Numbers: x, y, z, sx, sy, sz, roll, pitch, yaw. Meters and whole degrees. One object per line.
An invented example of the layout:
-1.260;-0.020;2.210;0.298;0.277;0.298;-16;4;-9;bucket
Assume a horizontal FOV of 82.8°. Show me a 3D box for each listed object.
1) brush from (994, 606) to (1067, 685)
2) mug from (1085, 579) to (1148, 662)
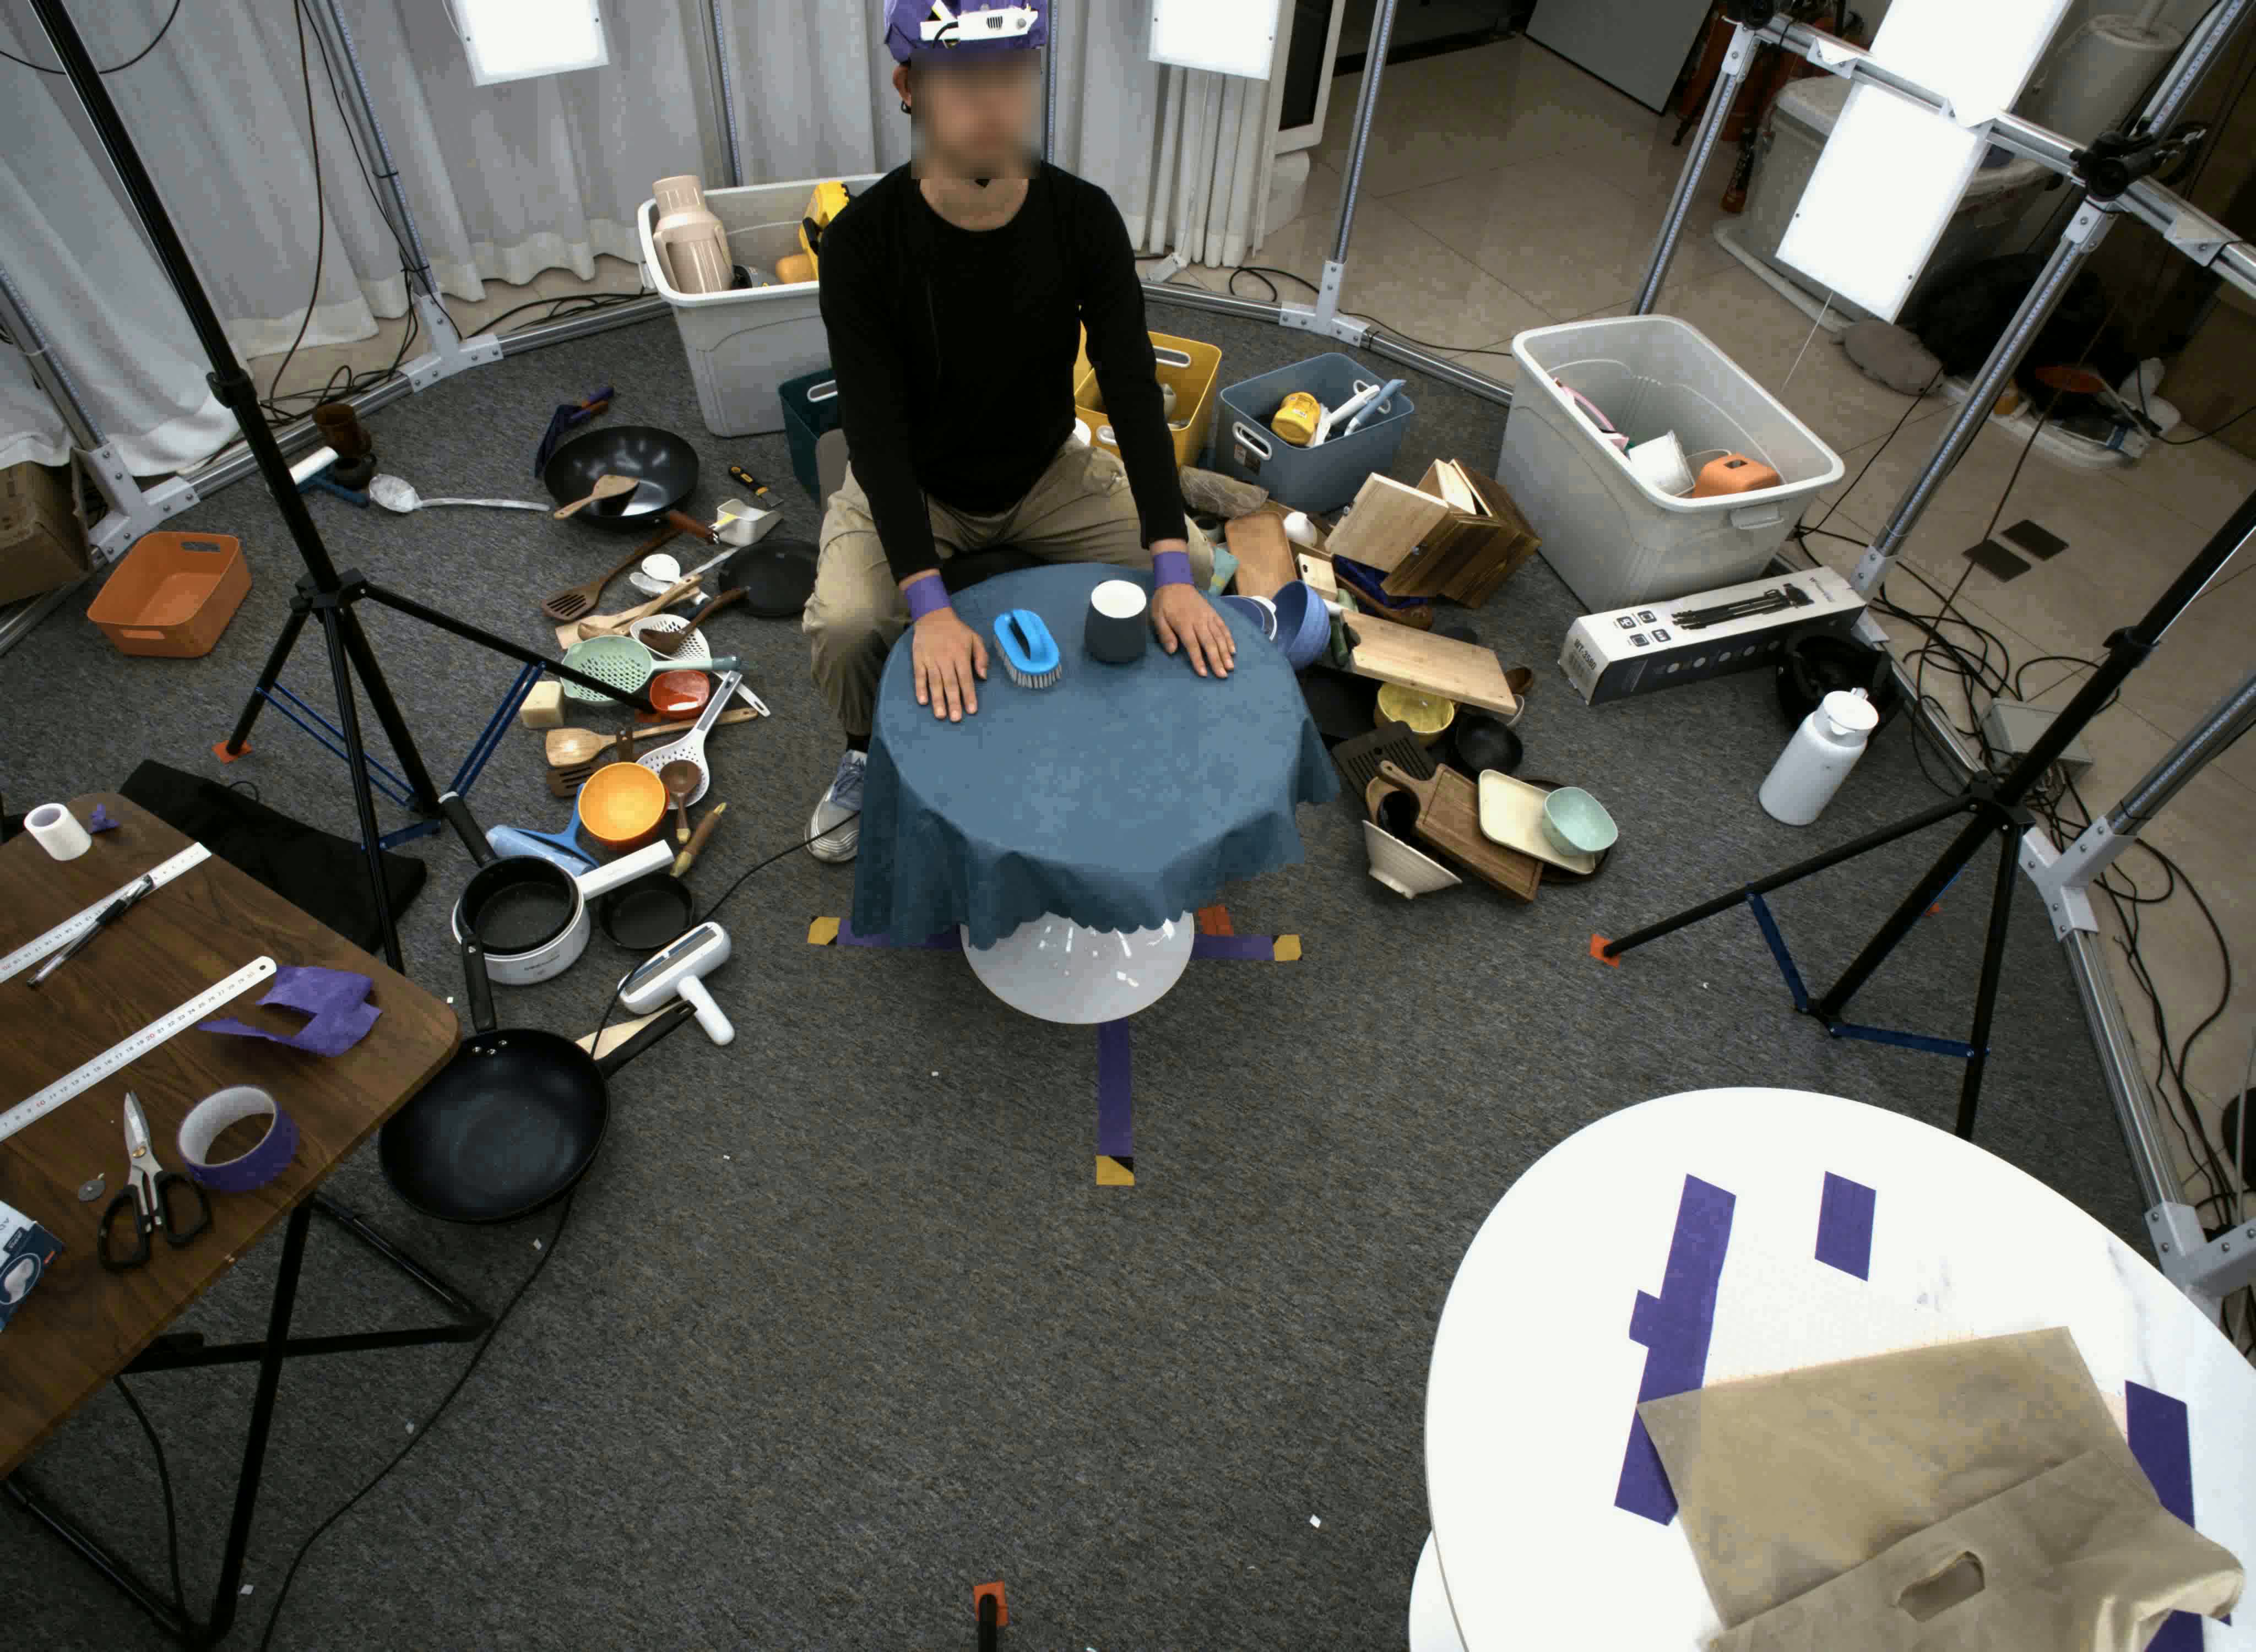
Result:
-0.142;-0.270;1.849;0.084;0.062;0.145;-18;51;-13;brush
-0.019;-0.308;1.872;0.093;0.088;0.126;-9;52;-13;mug
